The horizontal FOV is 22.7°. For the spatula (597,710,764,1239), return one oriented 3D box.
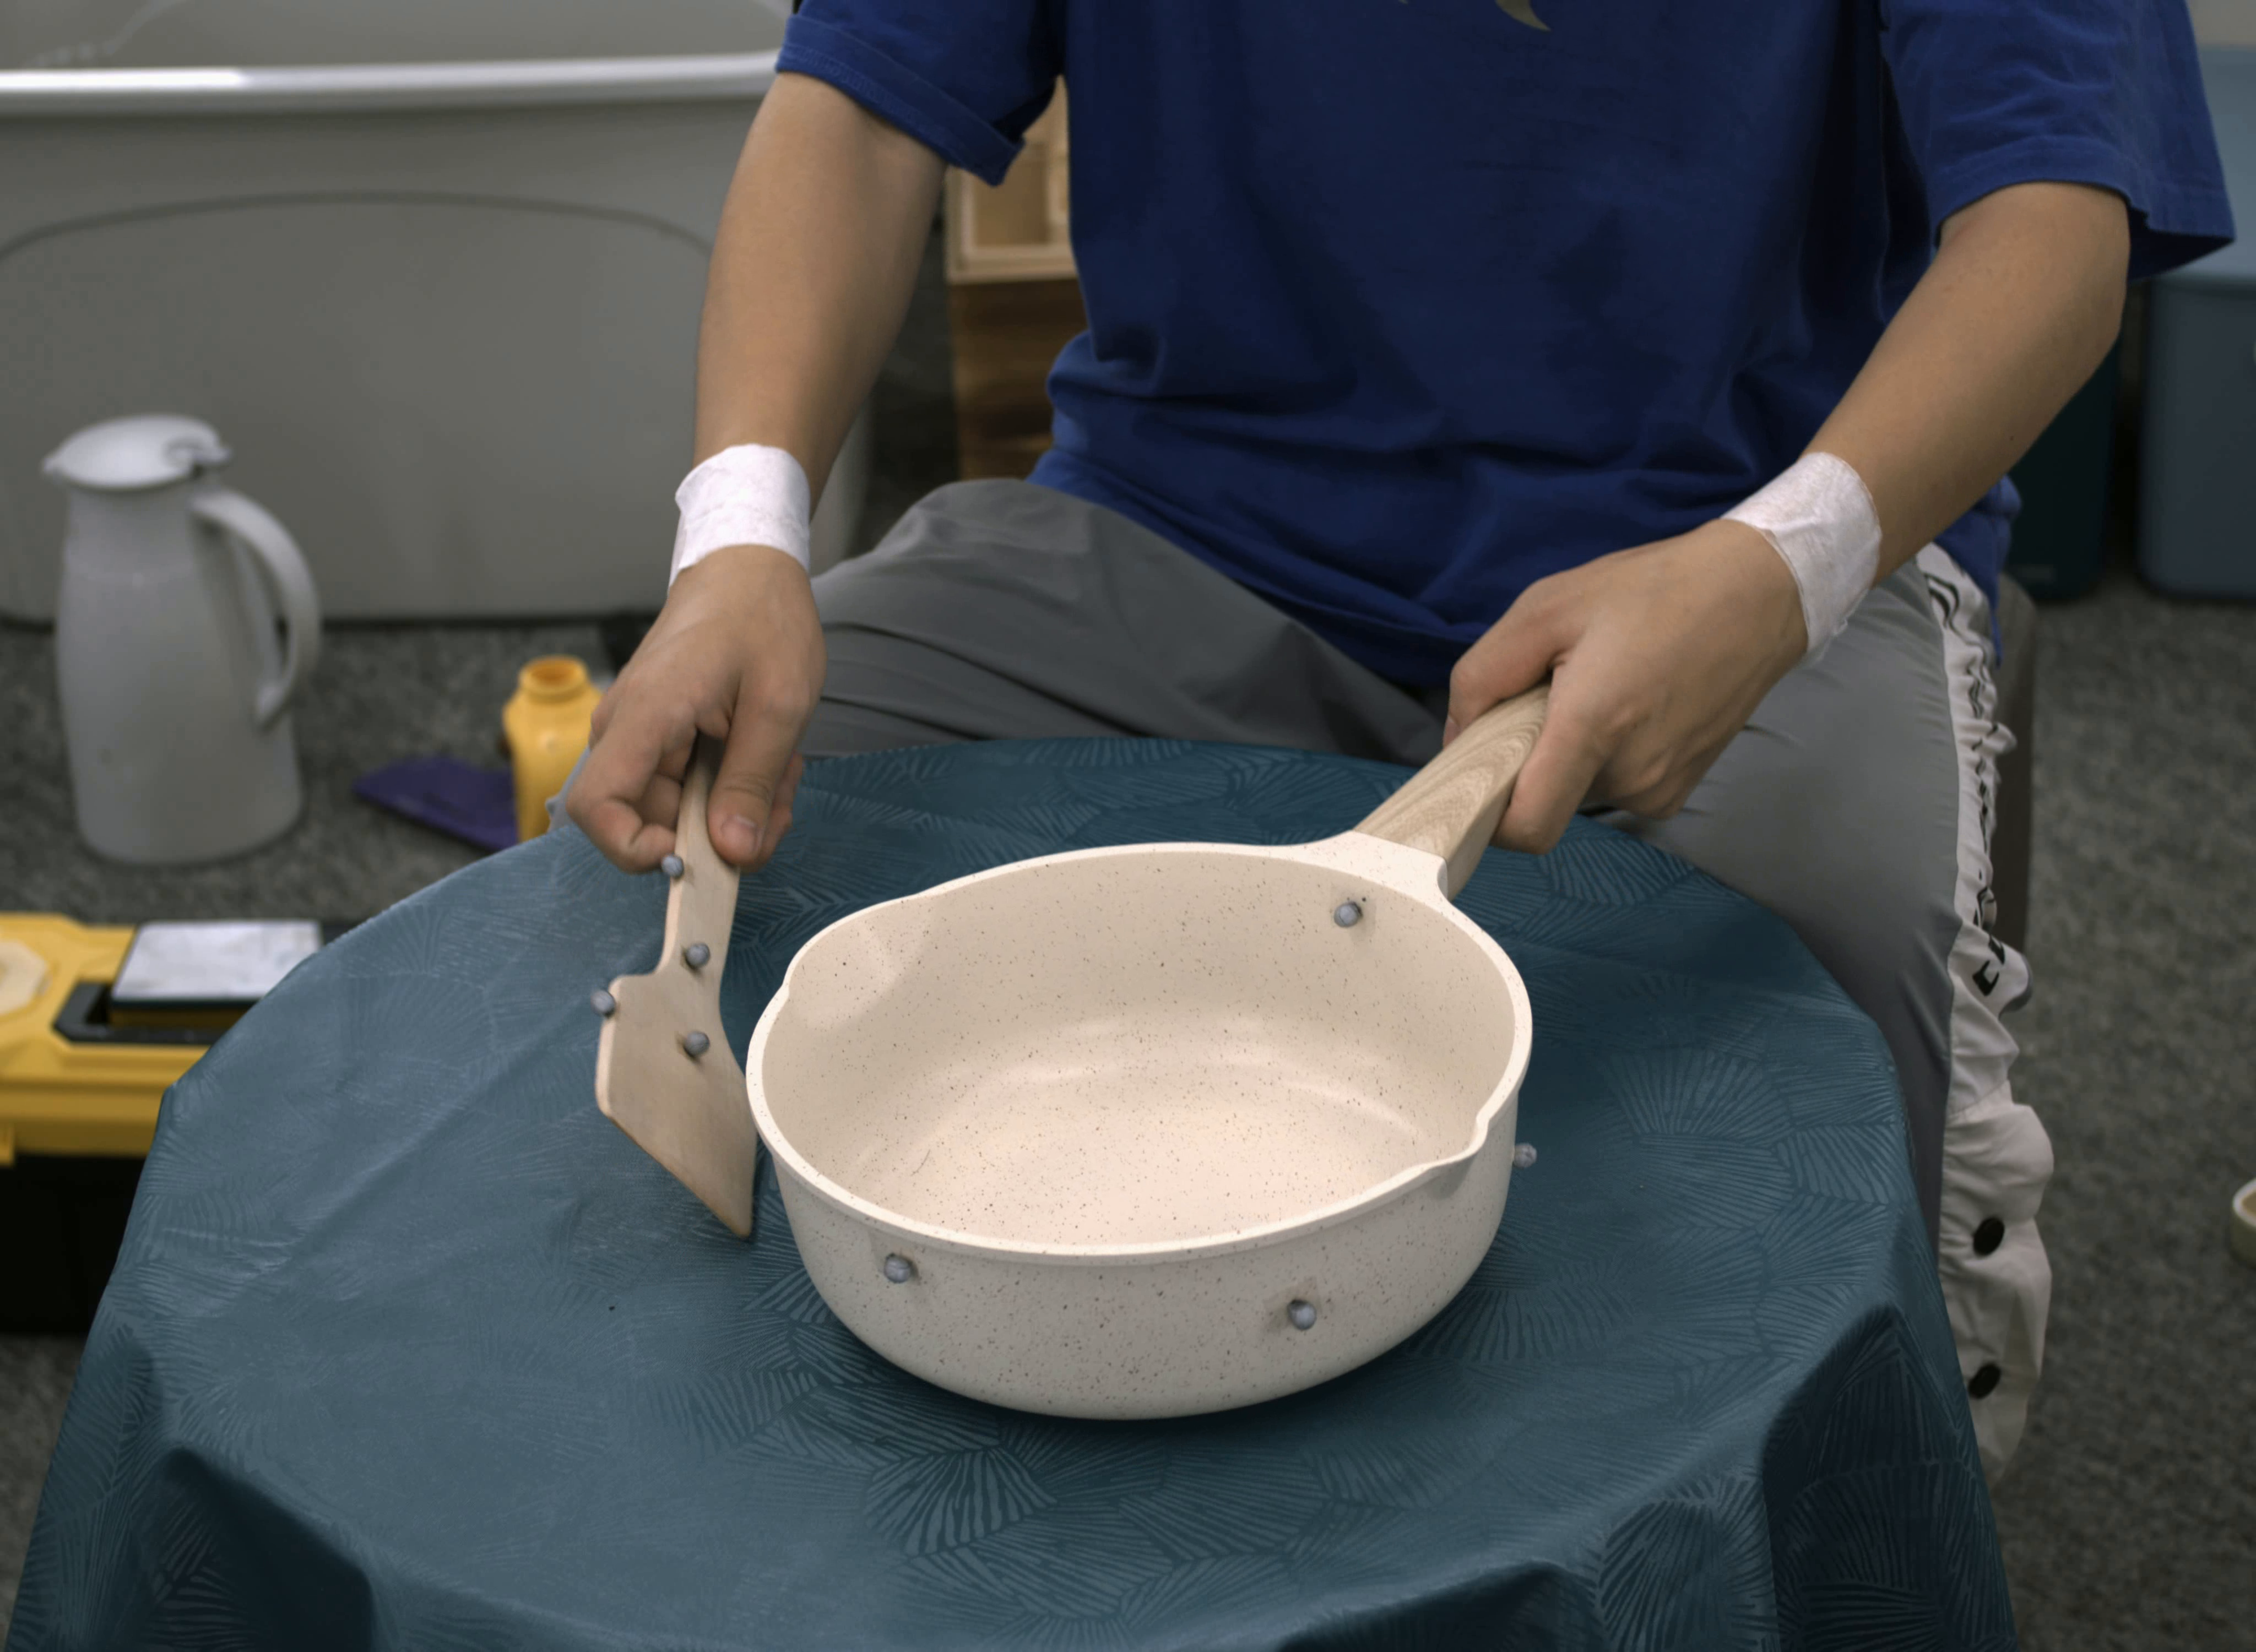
[{"bbox_3d":[-0.148,0.040,1.955,0.010,0.072,0.298,-38,24,21],"label":"spatula"}]

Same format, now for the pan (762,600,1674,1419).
[{"bbox_3d":[0.064,0.057,1.862,0.262,0.101,0.441,14,33,34],"label":"pan"}]
